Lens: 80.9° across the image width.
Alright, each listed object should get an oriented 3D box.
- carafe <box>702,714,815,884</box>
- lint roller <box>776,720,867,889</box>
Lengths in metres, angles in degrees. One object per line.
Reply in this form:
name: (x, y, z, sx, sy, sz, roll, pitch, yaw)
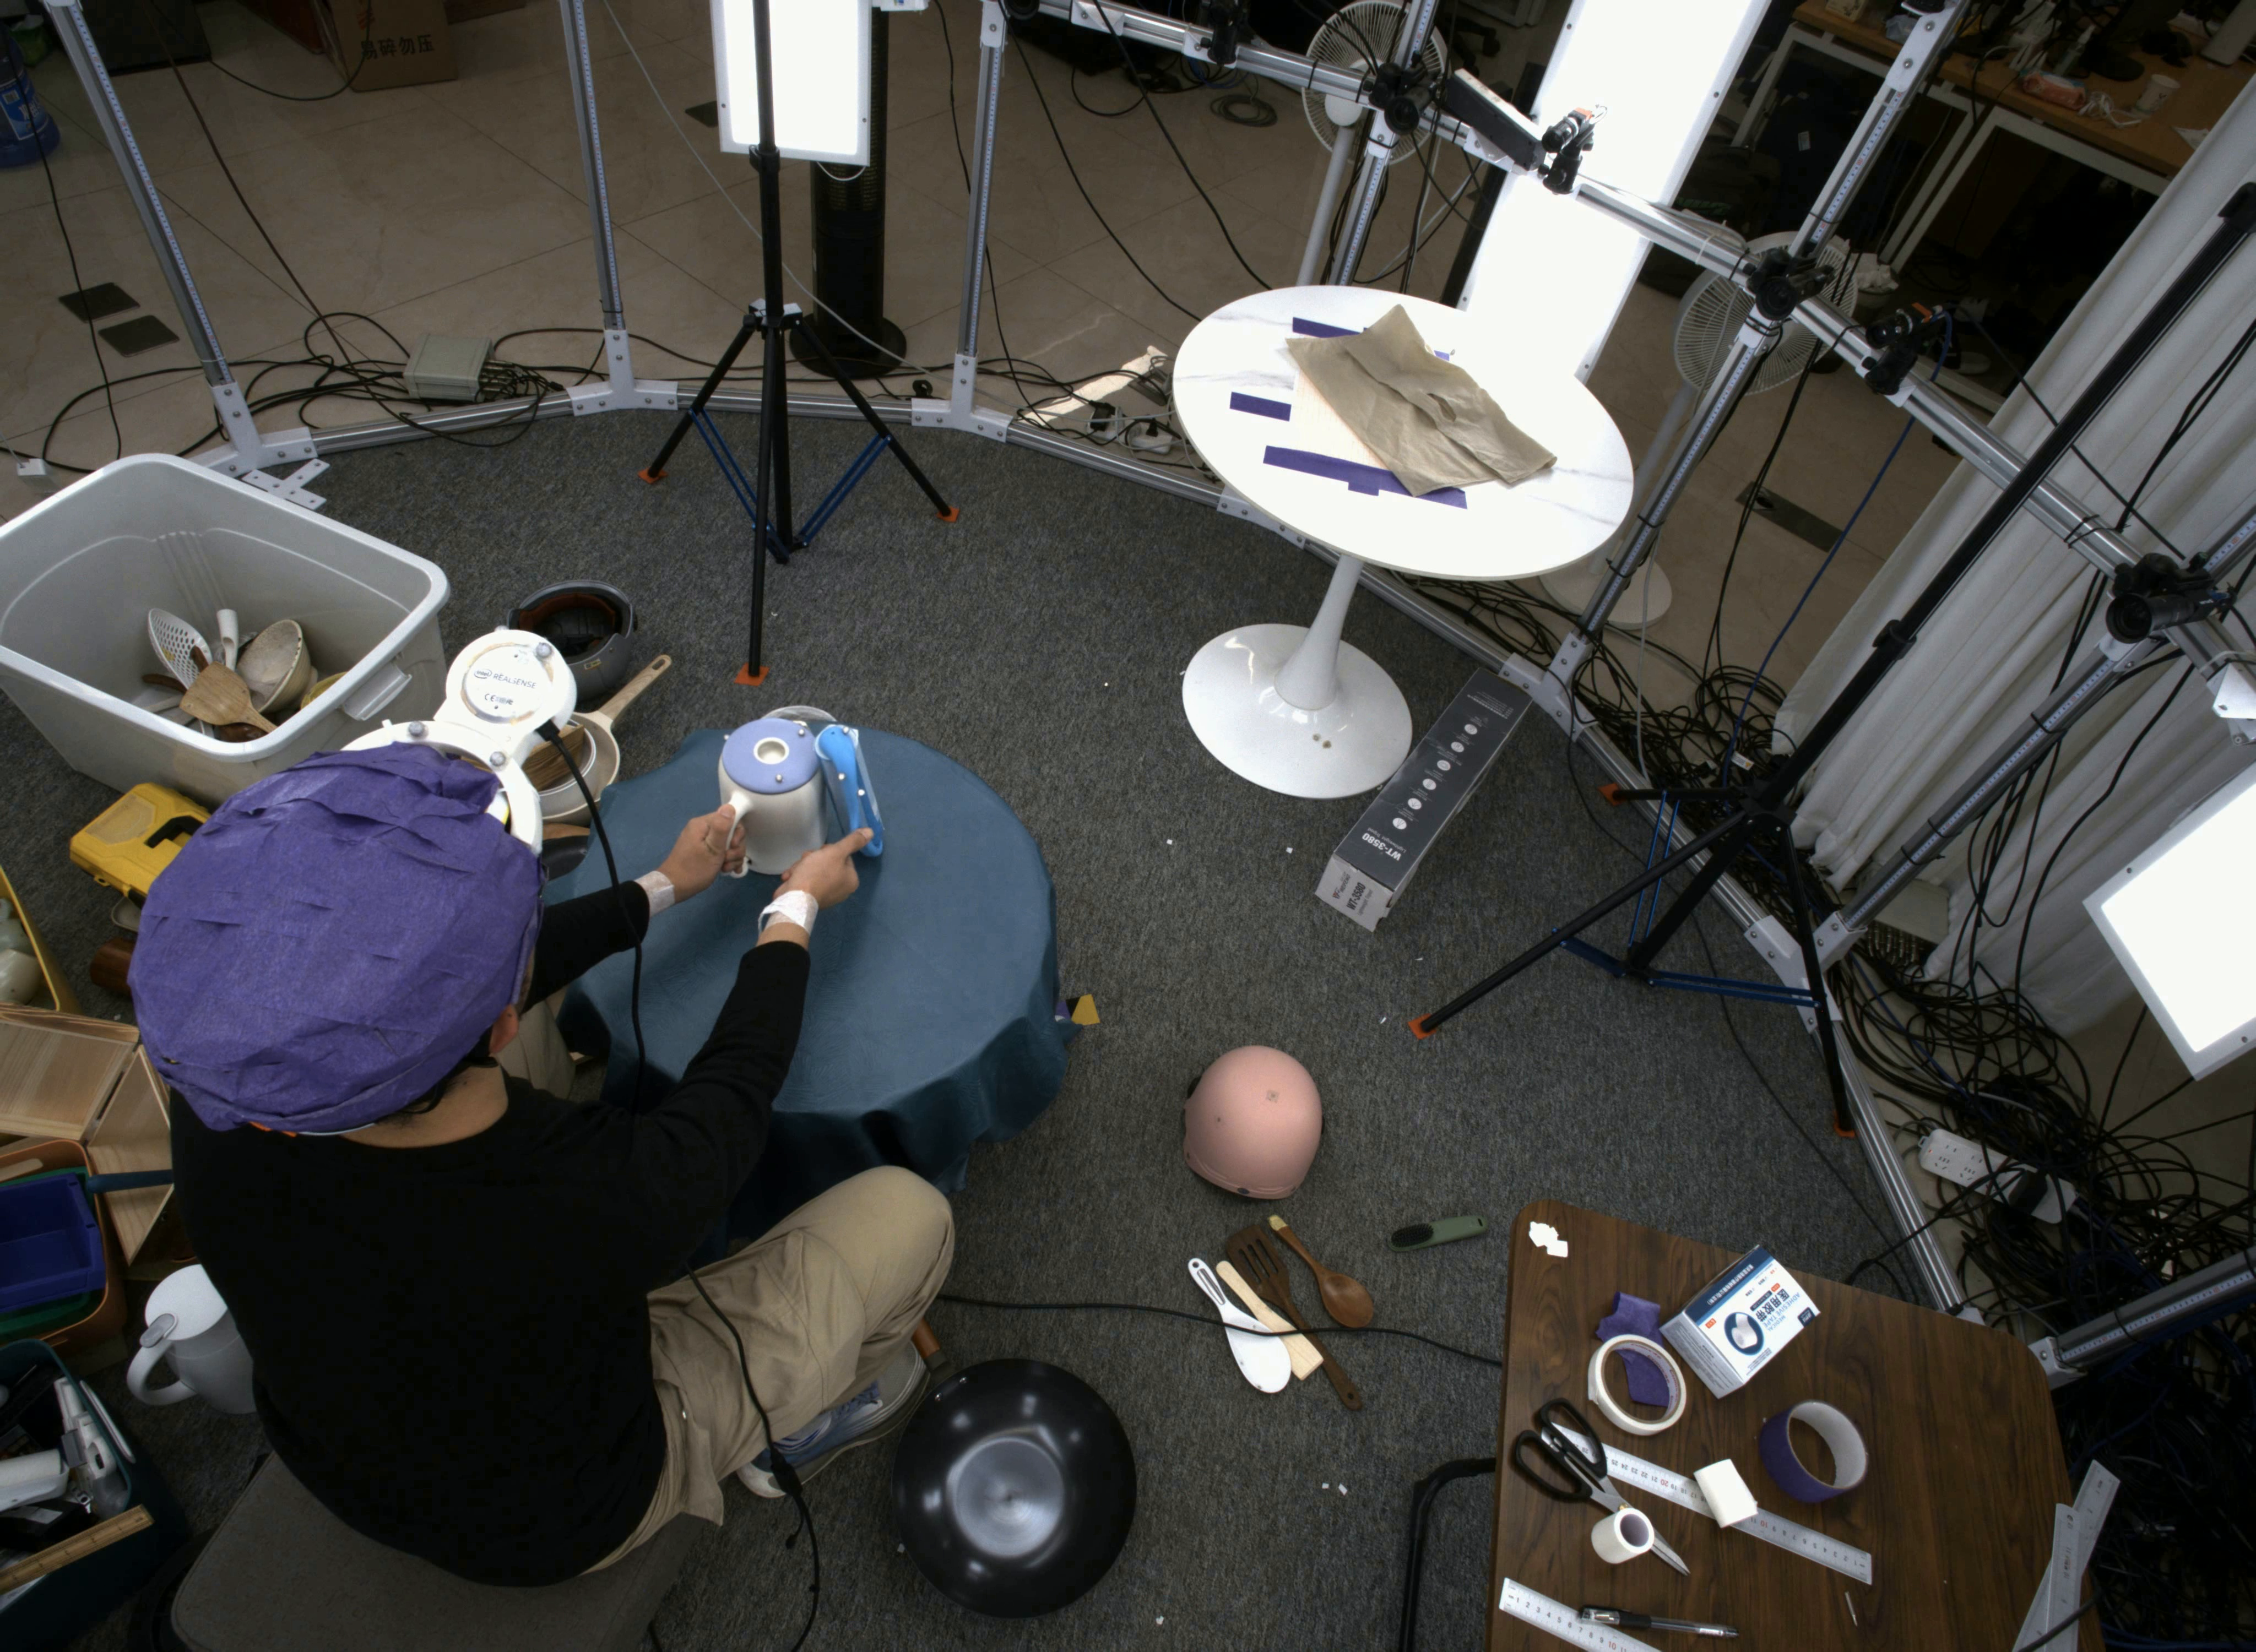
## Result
carafe: (-0.473, -0.021, 1.610, 0.130, 0.186, 0.190, 23, 54, 6)
lint roller: (-0.374, 0.000, 1.587, 0.067, 0.235, 0.178, 6, 58, 3)
